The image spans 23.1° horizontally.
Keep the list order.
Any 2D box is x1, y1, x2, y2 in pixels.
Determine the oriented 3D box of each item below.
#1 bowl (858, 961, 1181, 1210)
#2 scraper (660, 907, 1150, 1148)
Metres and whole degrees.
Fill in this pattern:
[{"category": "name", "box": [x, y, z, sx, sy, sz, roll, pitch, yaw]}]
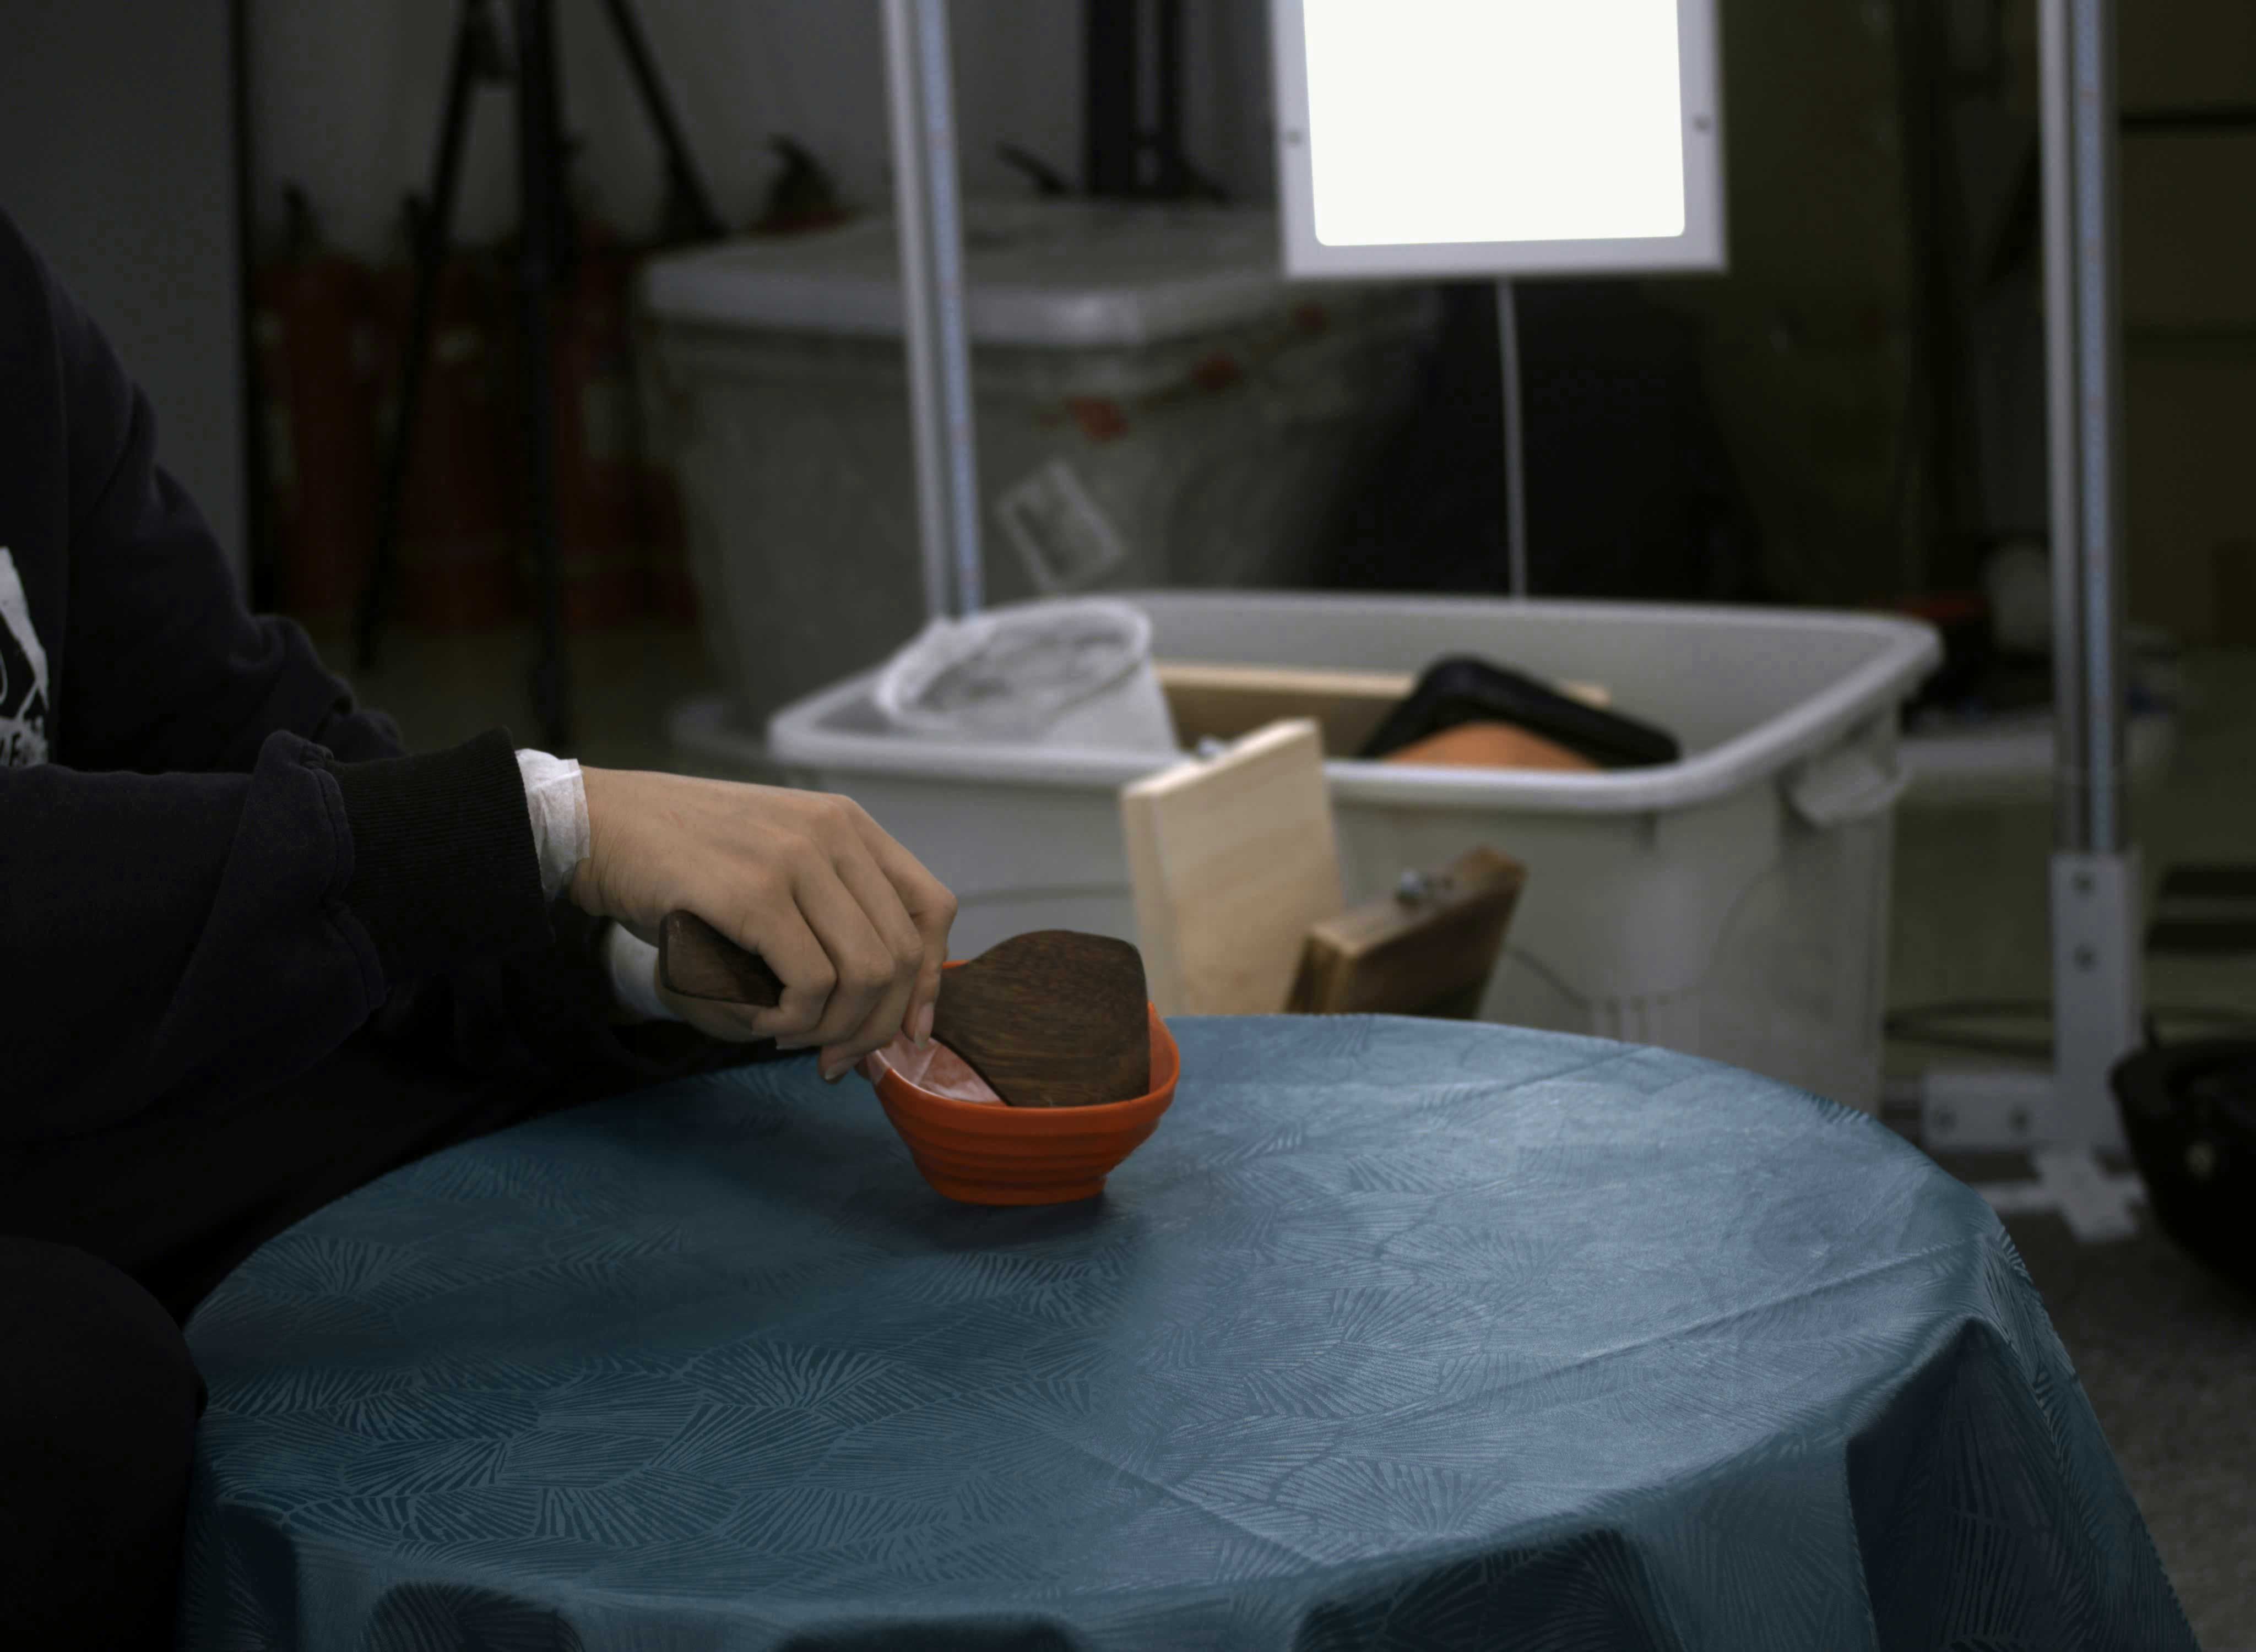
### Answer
[{"category": "bowl", "box": [-0.040, 0.094, 1.907, 0.118, 0.052, 0.118, 4, 27, -4]}, {"category": "scraper", "box": [-0.072, 0.057, 1.834, 0.206, 0.076, 0.011, 14, -20, -39]}]
